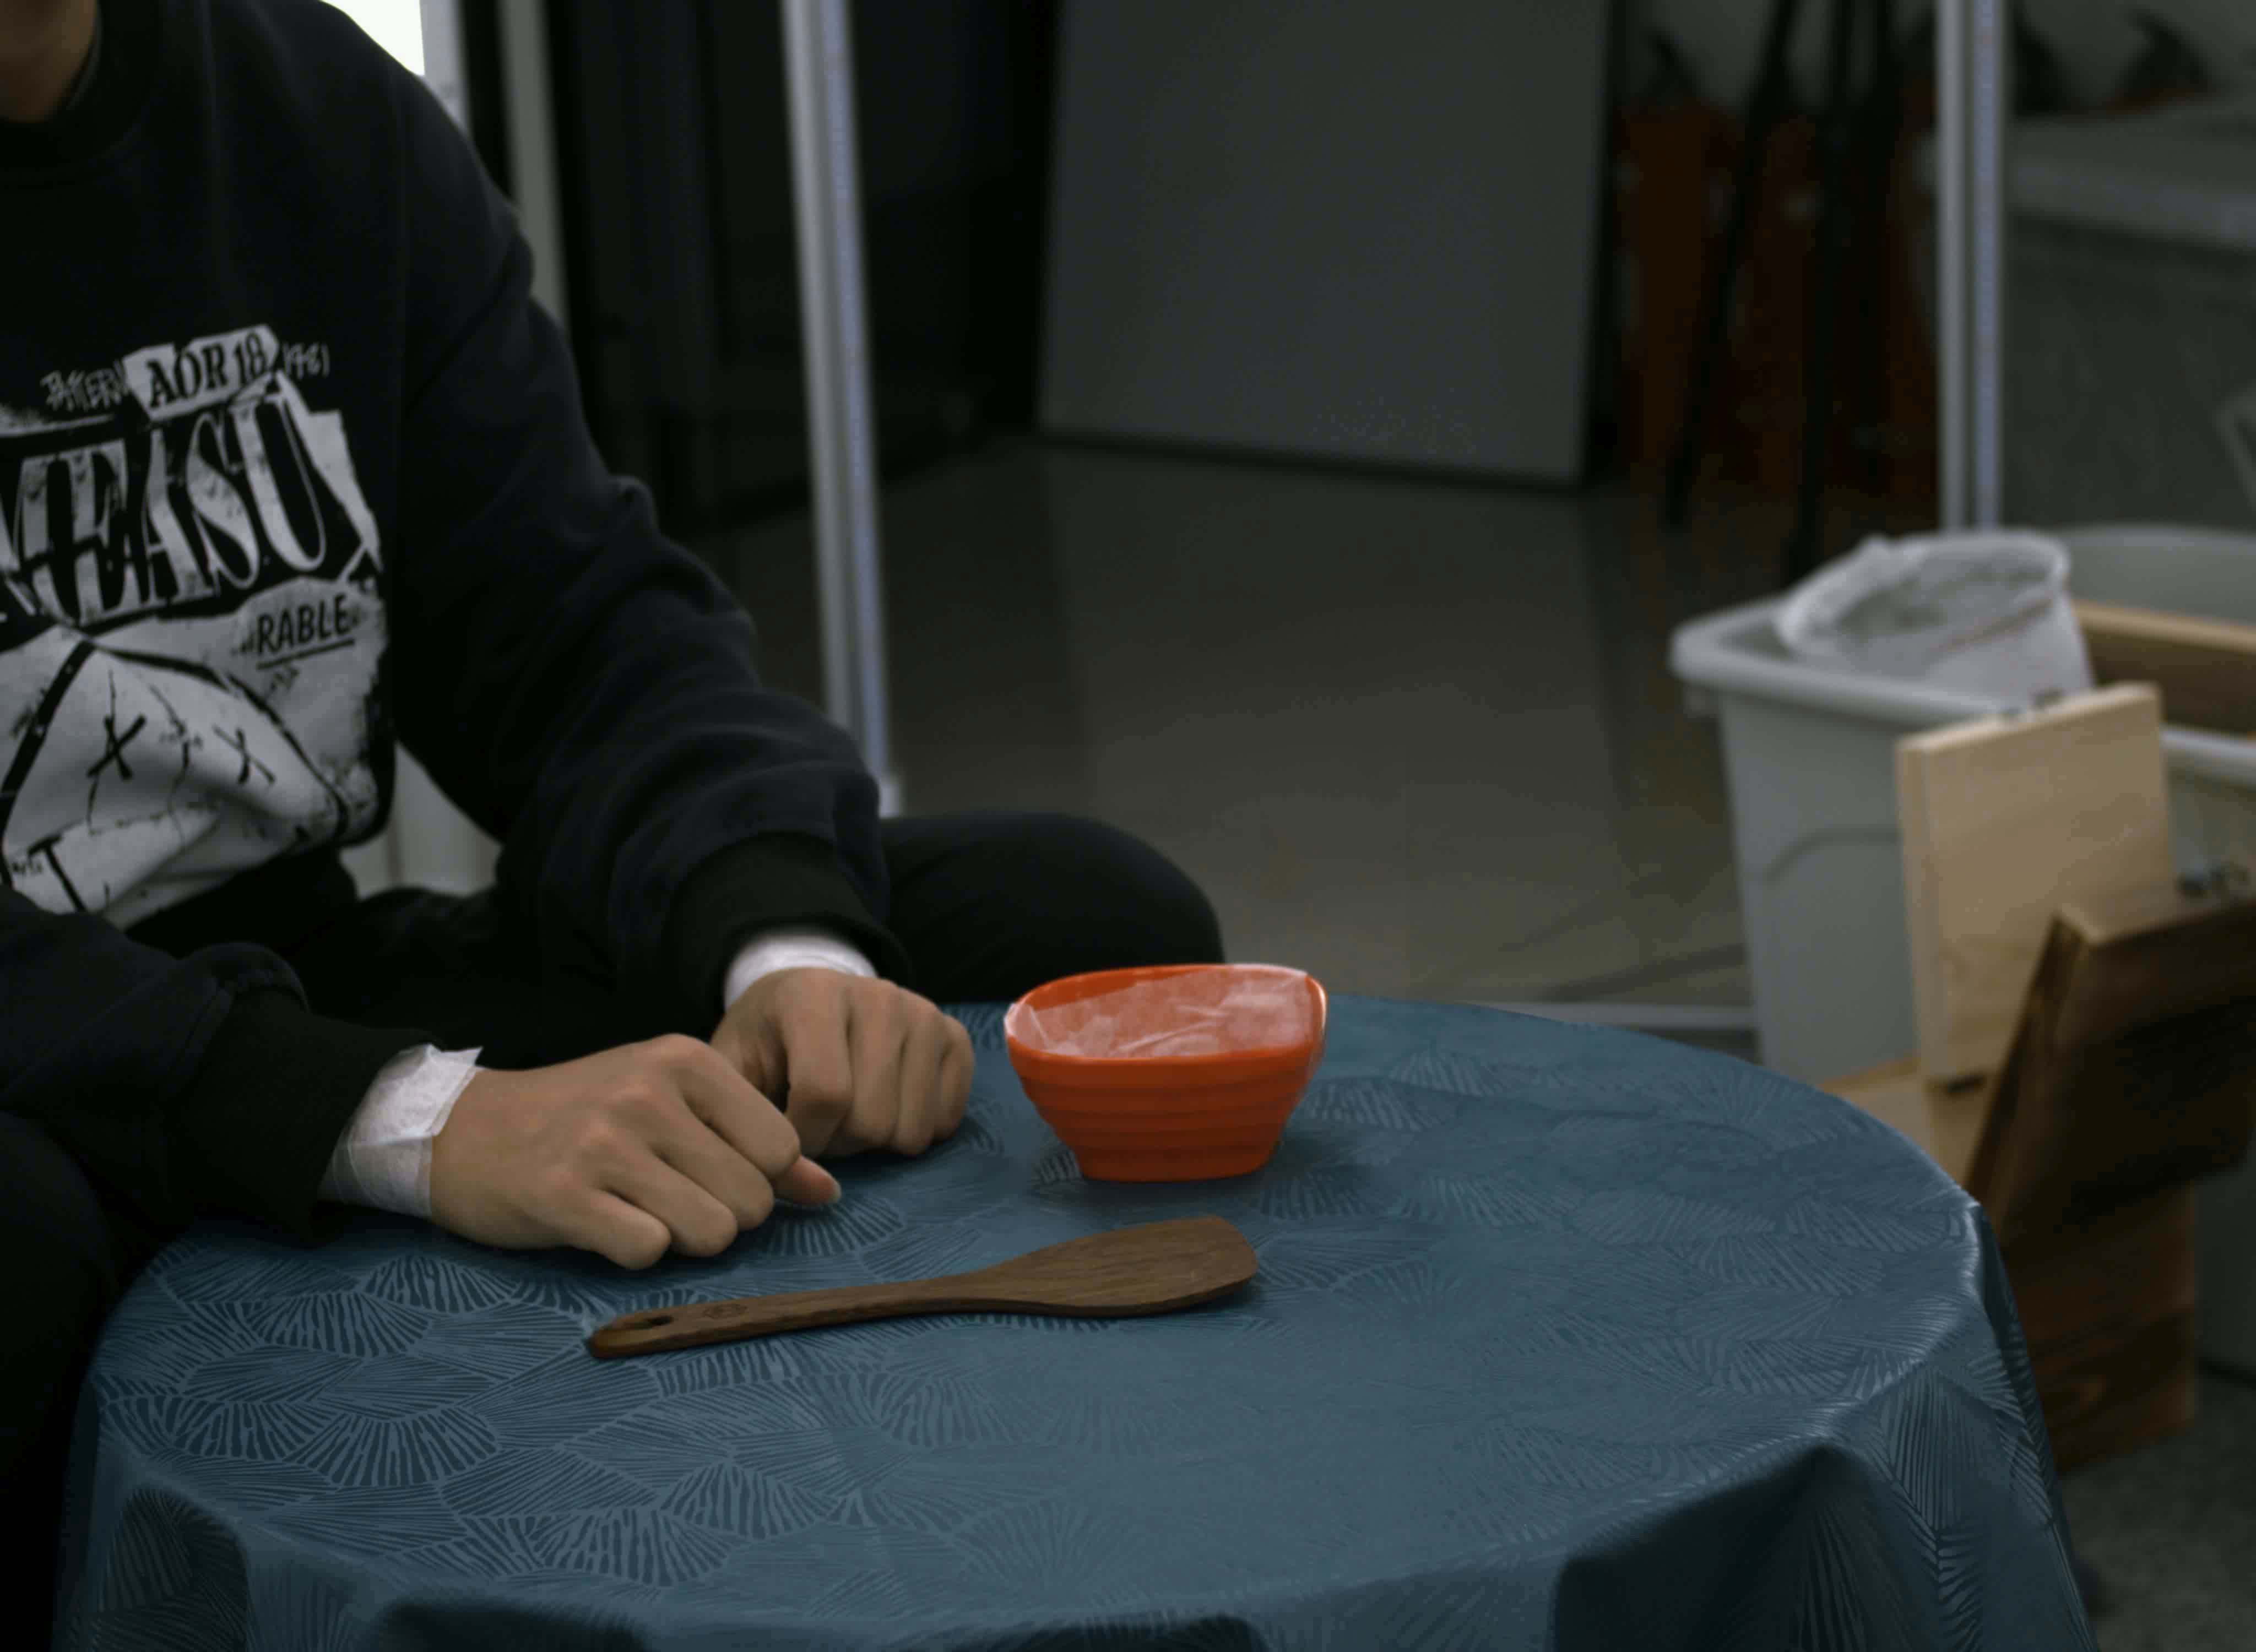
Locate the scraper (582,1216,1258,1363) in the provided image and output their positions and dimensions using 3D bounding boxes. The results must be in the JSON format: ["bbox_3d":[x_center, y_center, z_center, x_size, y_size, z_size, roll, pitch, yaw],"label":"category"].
[{"bbox_3d":[-0.064,0.147,1.670,0.207,0.011,0.076,-7,13,-9],"label":"scraper"}]

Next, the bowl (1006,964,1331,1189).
[{"bbox_3d":[0.014,0.086,1.804,0.117,0.052,0.119,-3,16,0],"label":"bowl"}]
